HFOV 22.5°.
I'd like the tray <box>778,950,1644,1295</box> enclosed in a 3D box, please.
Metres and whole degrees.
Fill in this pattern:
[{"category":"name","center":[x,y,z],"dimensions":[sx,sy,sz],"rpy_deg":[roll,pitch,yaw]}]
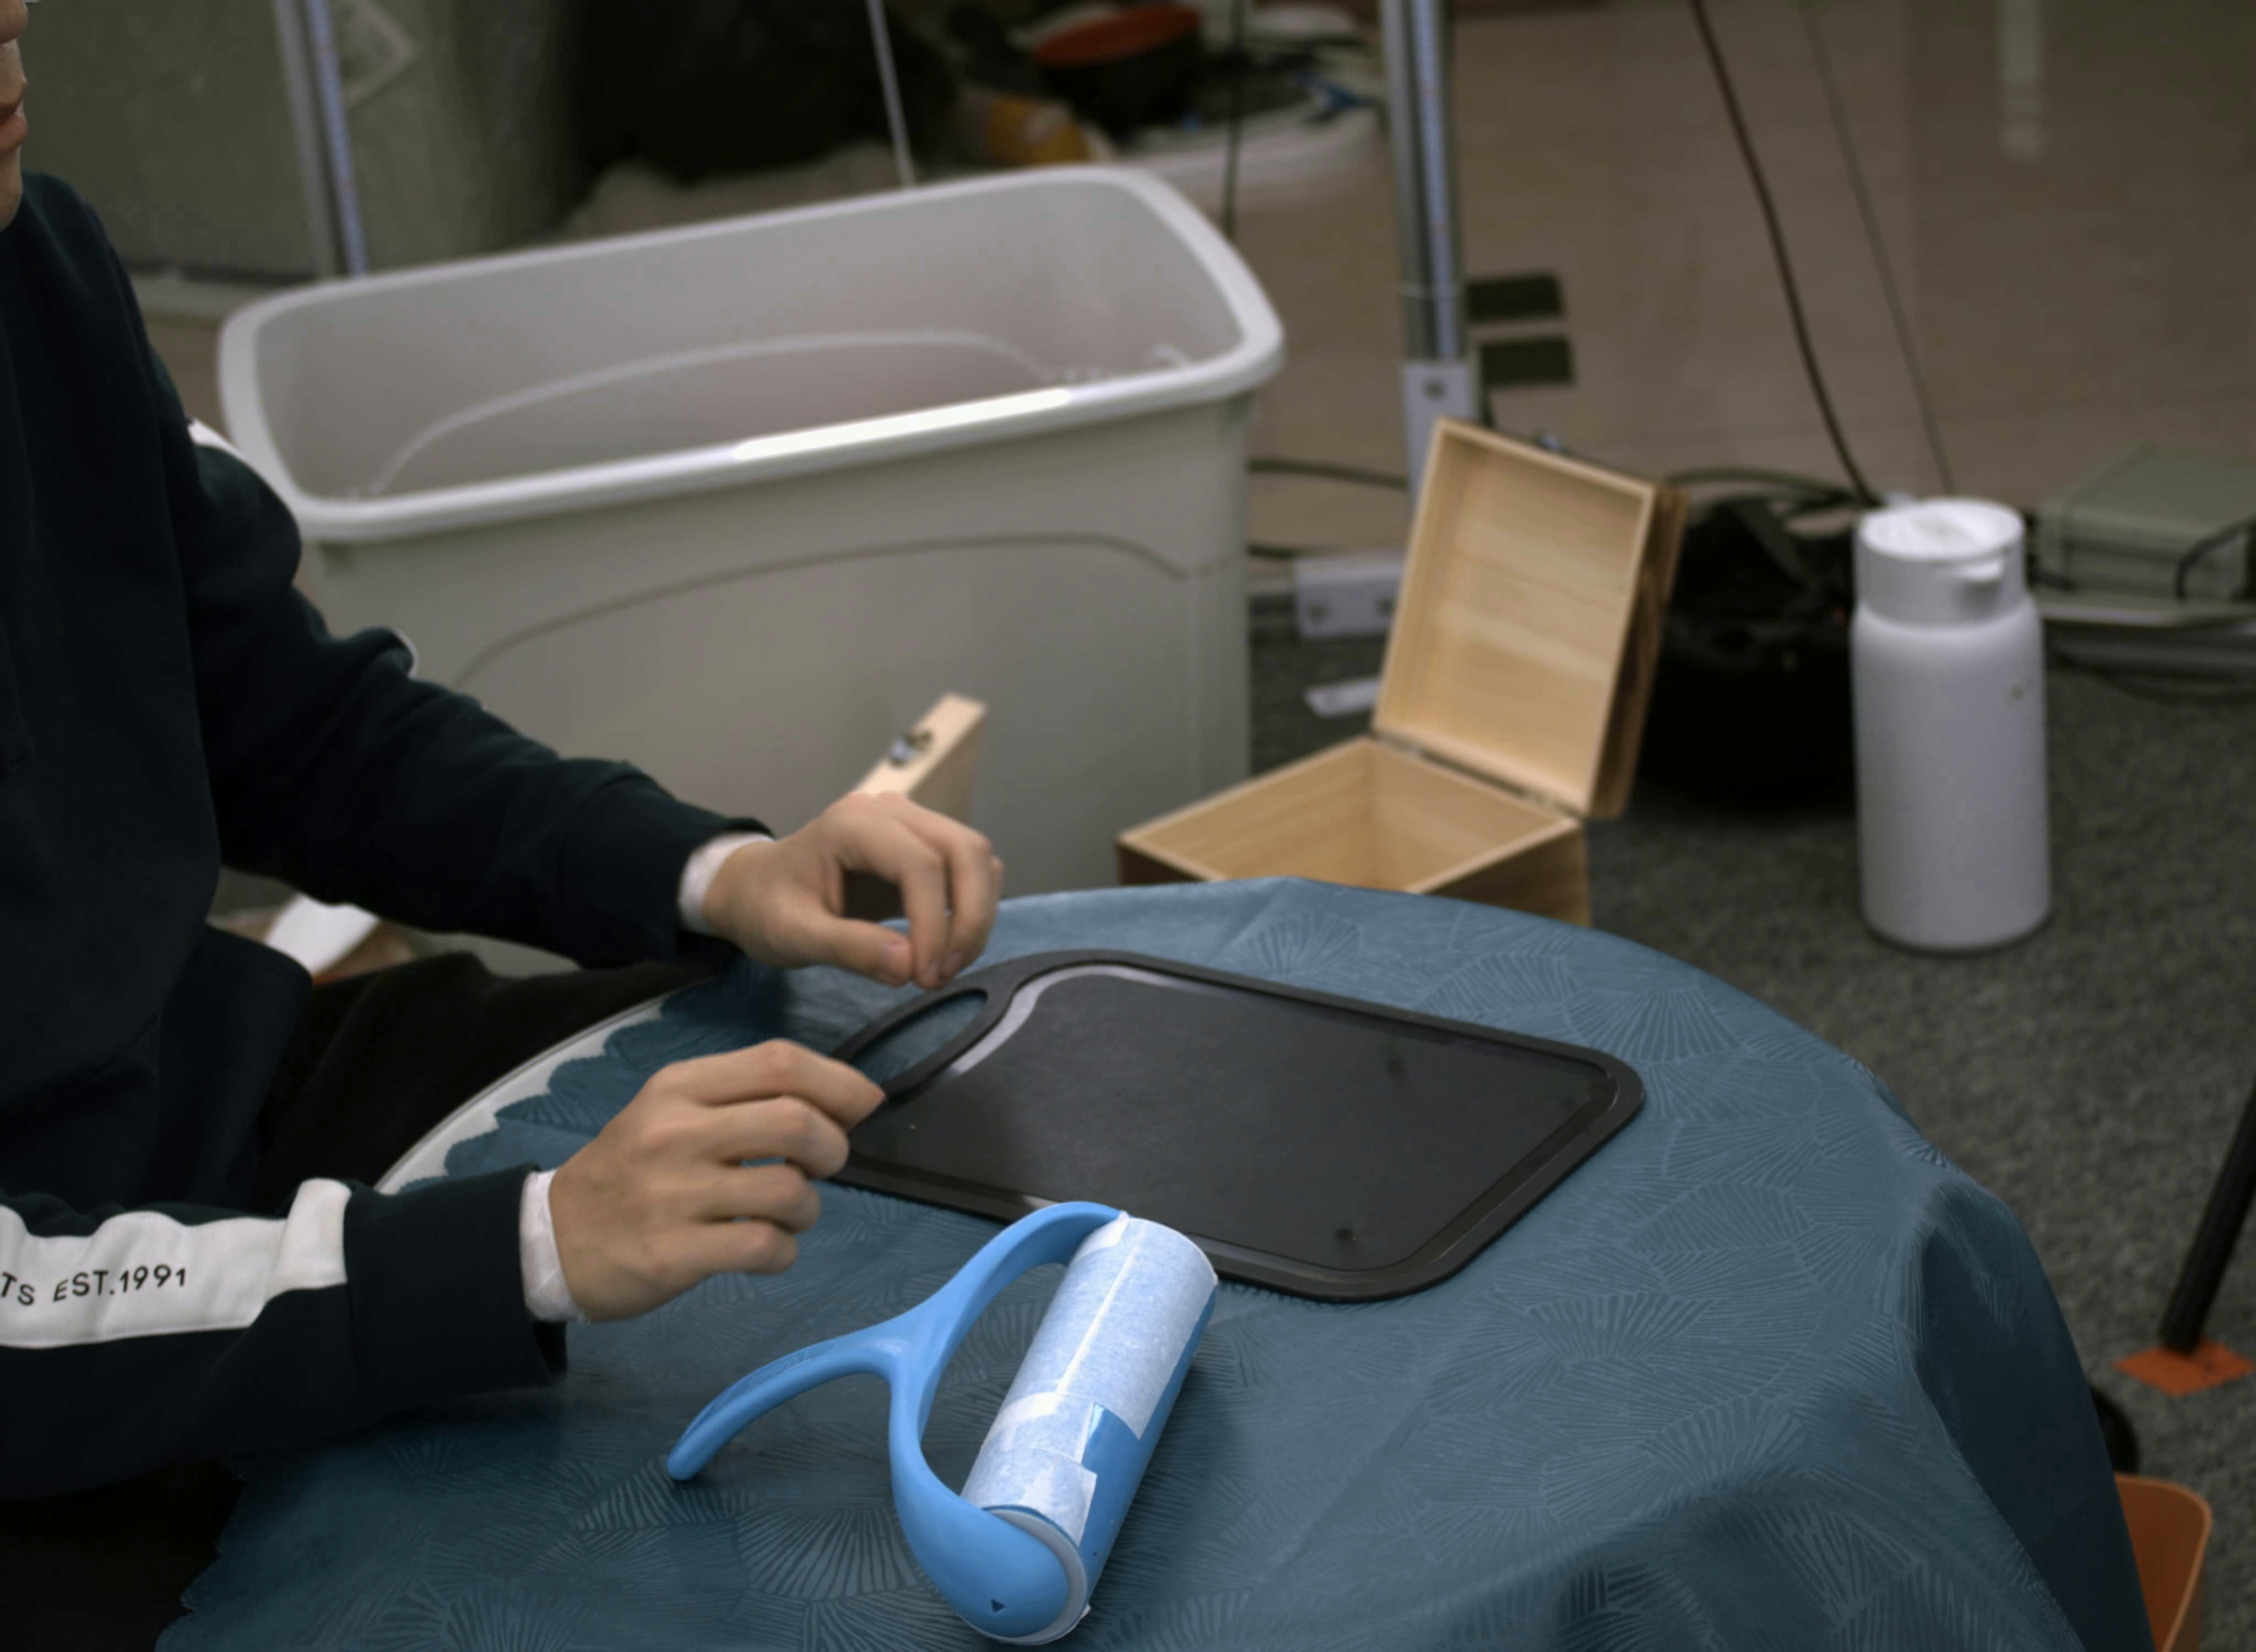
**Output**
[{"category":"tray","center":[0.023,0.109,2.195],"dimensions":[0.323,0.010,0.209],"rpy_deg":[11,30,34]}]

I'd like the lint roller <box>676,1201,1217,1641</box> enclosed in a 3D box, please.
[{"category":"lint roller","center":[-0.073,0.203,1.957],"dimensions":[0.180,0.069,0.225],"rpy_deg":[0,27,12]}]
